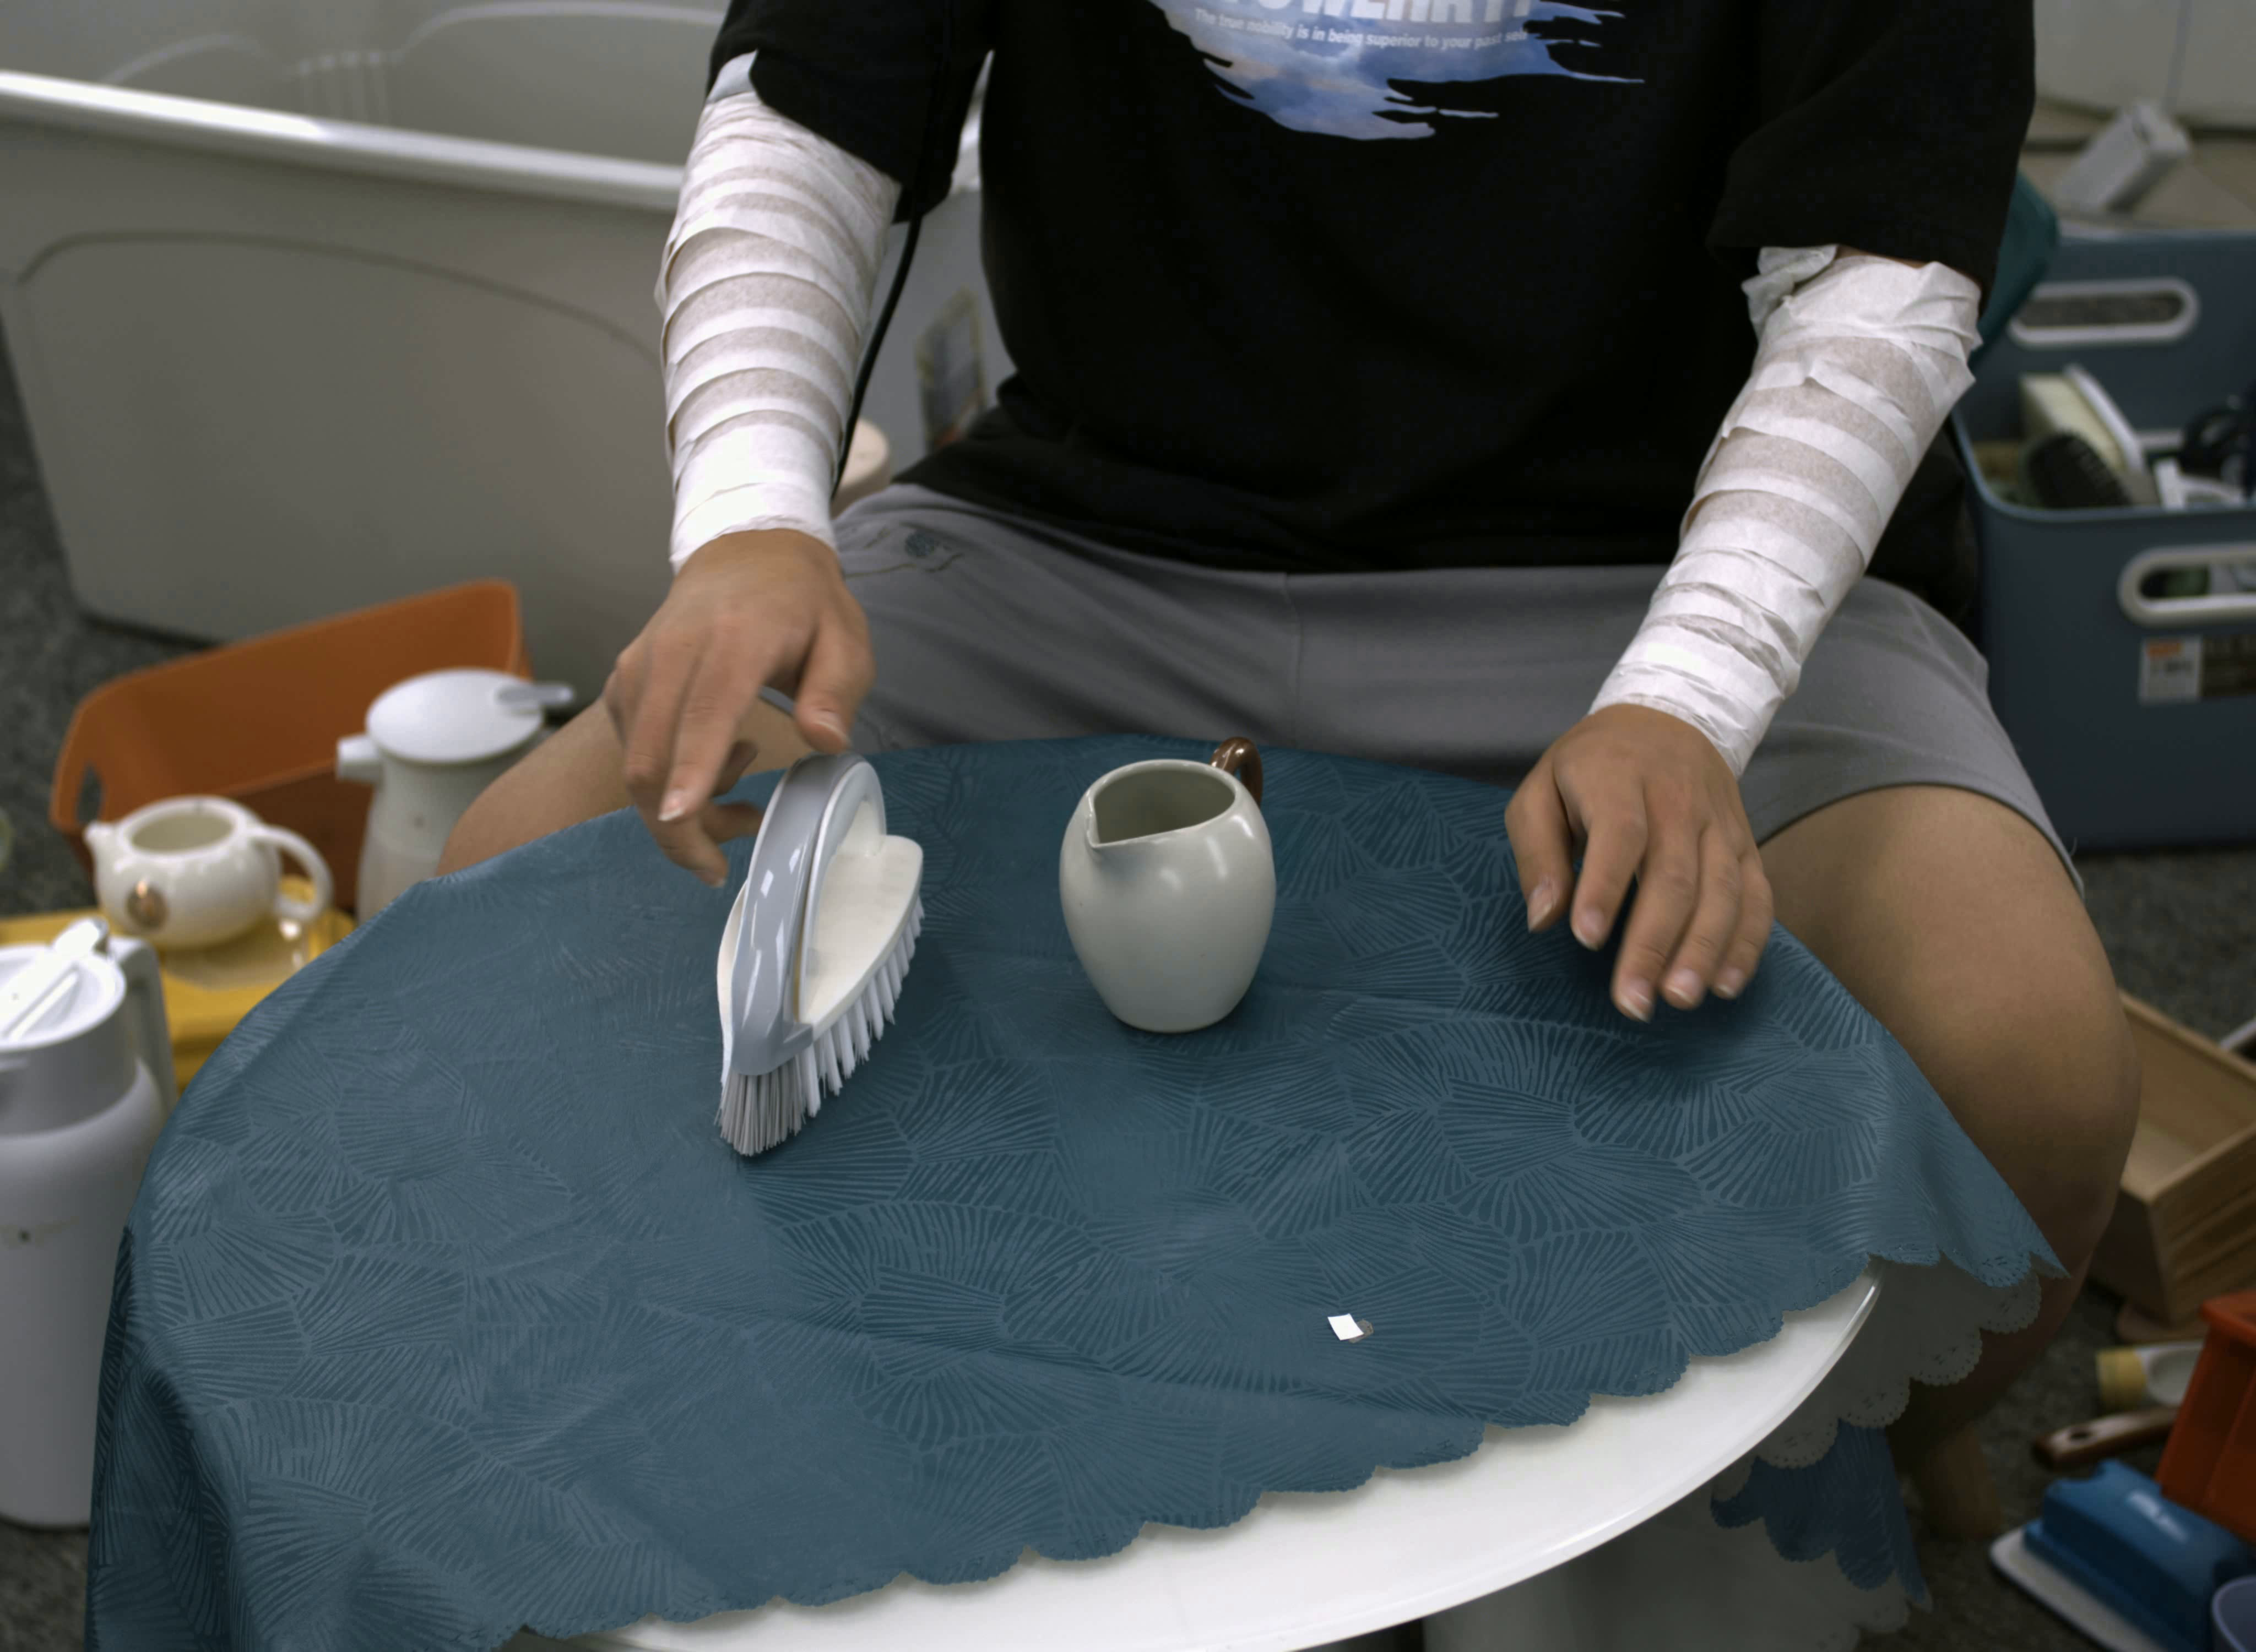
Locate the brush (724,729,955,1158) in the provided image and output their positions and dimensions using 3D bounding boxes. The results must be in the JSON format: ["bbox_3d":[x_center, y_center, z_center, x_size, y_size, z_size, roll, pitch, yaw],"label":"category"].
[{"bbox_3d":[-0.109,0.032,1.944,0.061,0.093,0.179,3,32,14],"label":"brush"}]

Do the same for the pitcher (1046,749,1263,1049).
[{"bbox_3d":[0.014,0.026,1.954,0.075,0.087,0.121,17,34,27],"label":"pitcher"}]
